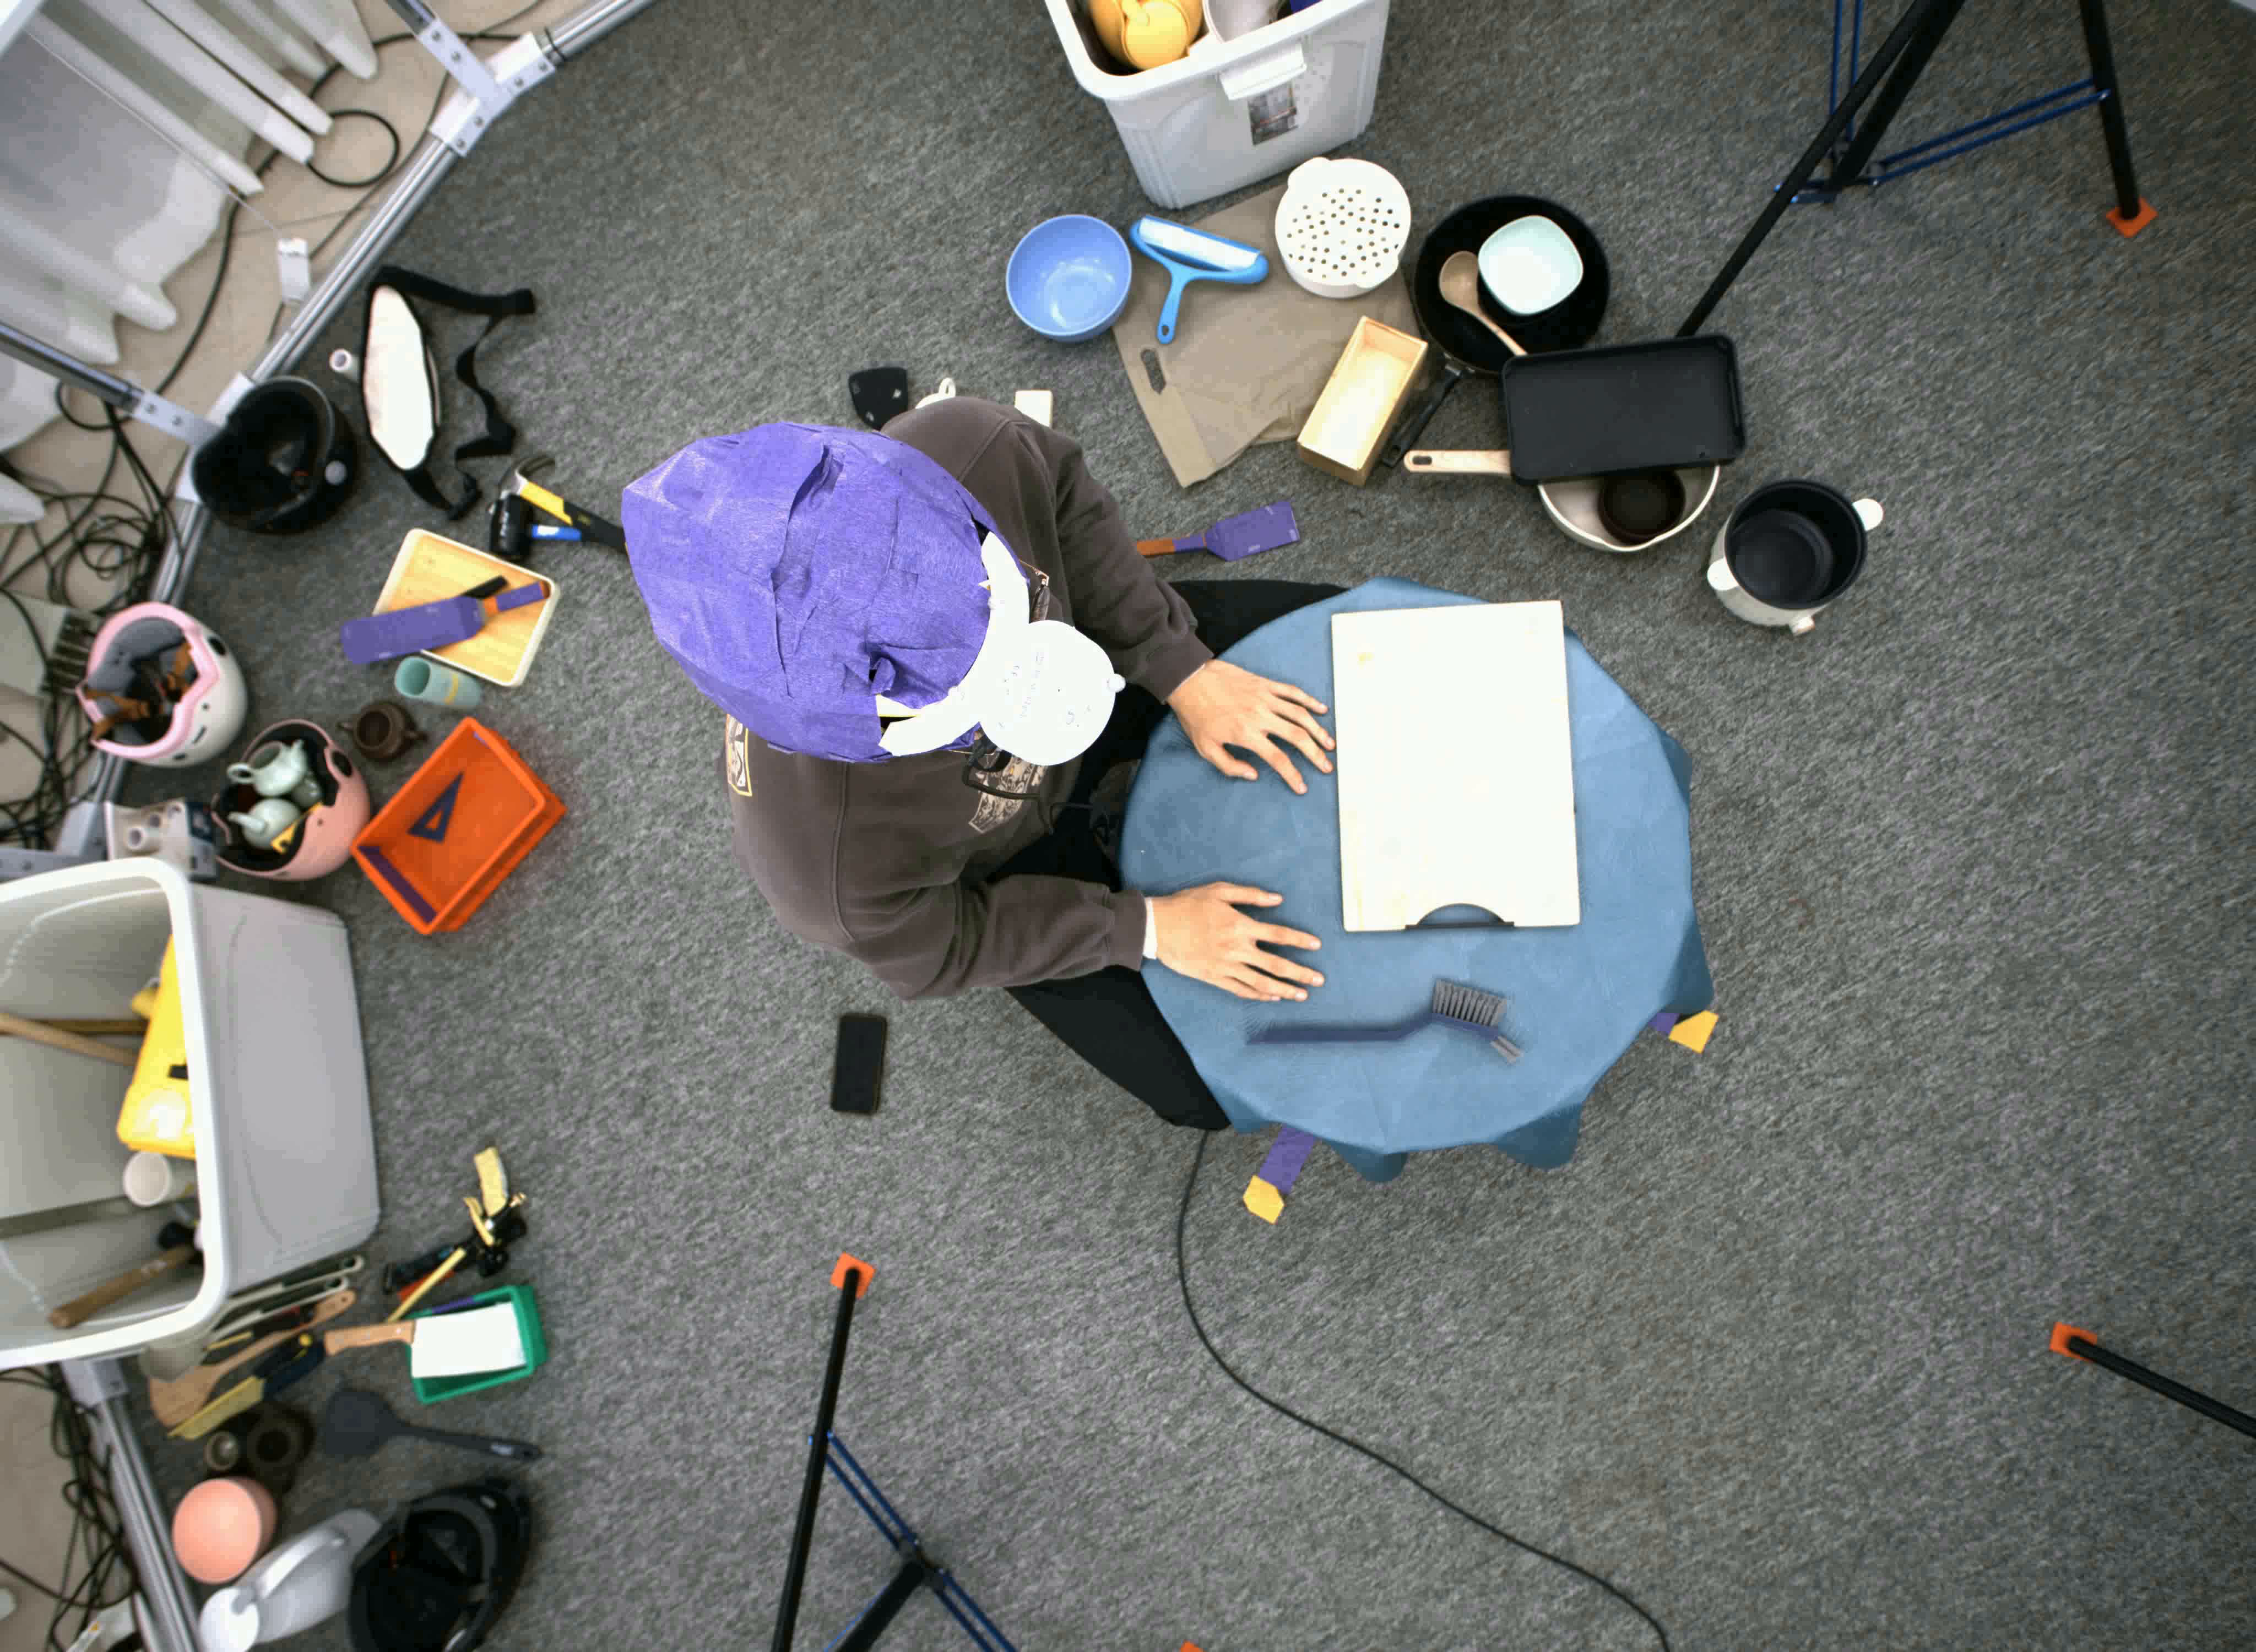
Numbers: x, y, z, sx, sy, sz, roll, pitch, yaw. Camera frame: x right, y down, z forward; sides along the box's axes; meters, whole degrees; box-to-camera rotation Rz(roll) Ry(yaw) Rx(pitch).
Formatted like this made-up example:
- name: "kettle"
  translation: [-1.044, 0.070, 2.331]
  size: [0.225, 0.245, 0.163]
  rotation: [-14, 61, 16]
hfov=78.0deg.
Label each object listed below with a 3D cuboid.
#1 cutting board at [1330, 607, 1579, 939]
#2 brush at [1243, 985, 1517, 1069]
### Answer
- name: "cutting board"
  translation: [0.340, -0.059, 1.443]
  size: [0.252, 0.023, 0.347]
  rotation: [-3, 87, 11]
- name: "brush"
  translation: [0.260, 0.222, 1.437]
  size: [0.274, 0.033, 0.095]
  rotation: [-10, 85, 9]
